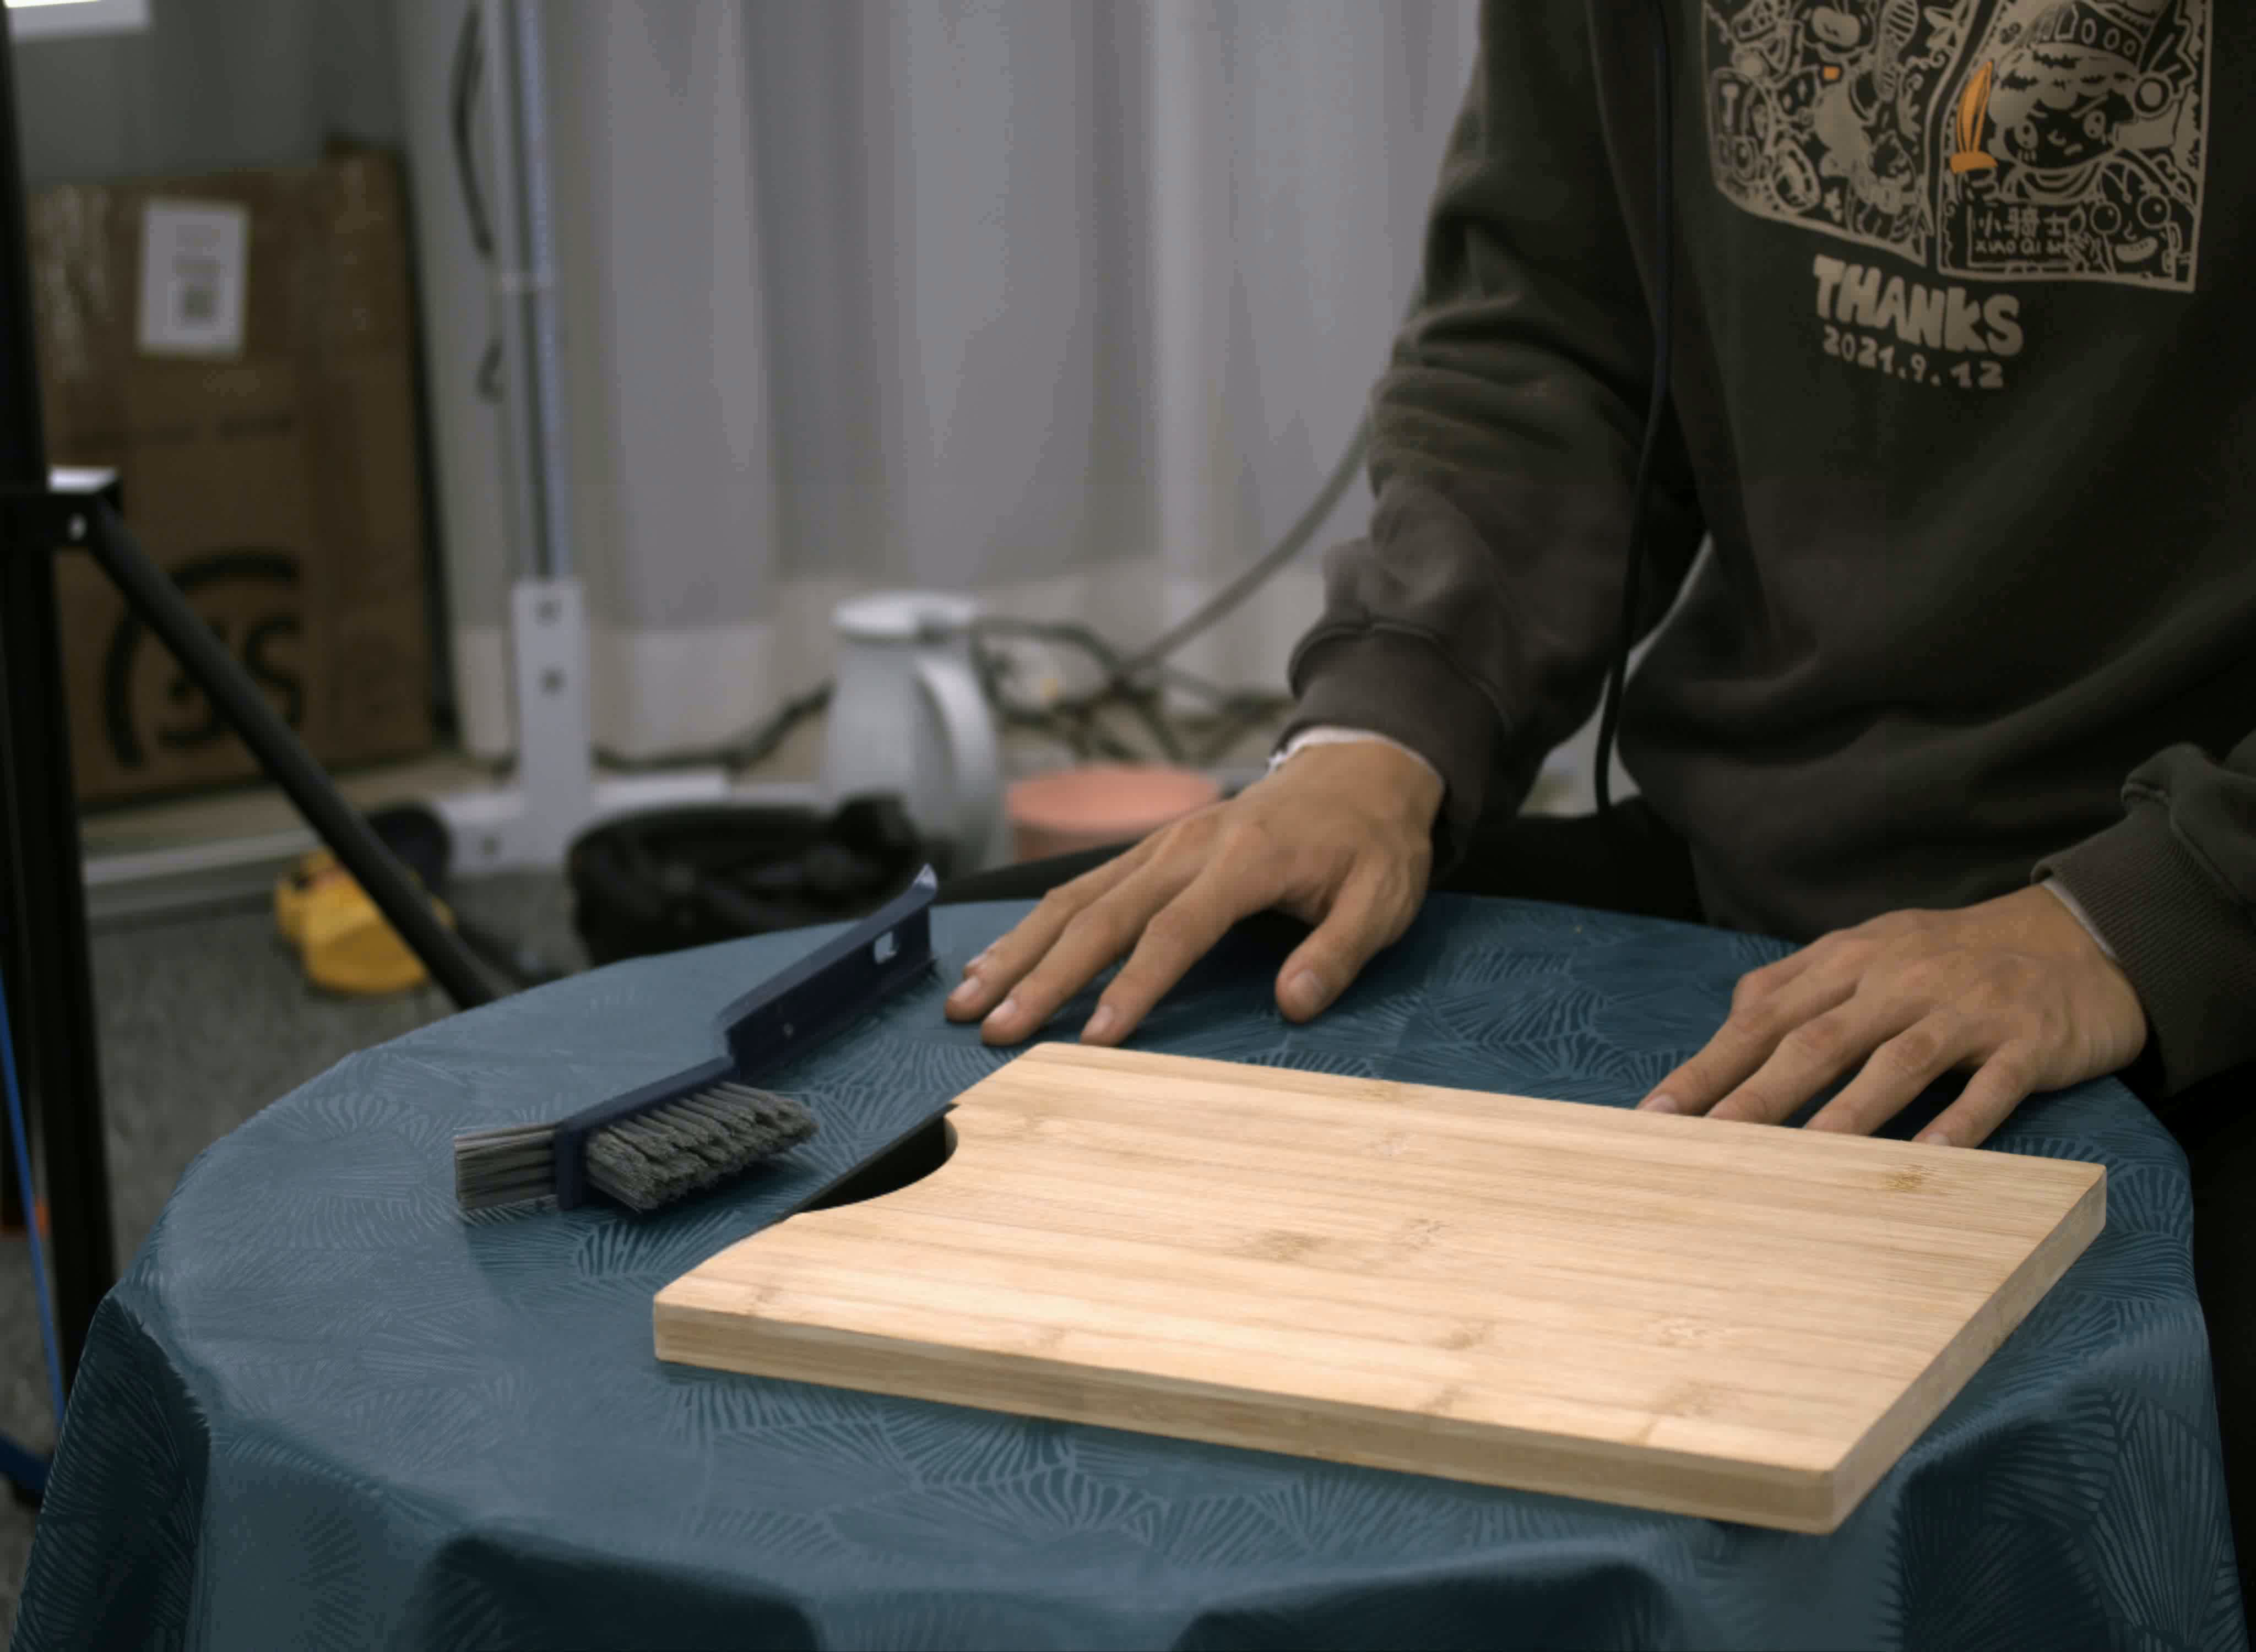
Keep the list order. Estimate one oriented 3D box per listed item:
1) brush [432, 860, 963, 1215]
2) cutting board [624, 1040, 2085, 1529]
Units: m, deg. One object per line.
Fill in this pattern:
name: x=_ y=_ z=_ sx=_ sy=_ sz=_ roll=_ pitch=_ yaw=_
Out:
brush: x=-0.125 y=0.065 z=1.679 sx=0.096 sy=0.033 sz=0.271 roll=2 pitch=18 yaw=17
cutting board: x=0.067 y=0.121 z=1.475 sx=0.354 sy=0.023 sz=0.247 roll=5 pitch=17 yaw=26
